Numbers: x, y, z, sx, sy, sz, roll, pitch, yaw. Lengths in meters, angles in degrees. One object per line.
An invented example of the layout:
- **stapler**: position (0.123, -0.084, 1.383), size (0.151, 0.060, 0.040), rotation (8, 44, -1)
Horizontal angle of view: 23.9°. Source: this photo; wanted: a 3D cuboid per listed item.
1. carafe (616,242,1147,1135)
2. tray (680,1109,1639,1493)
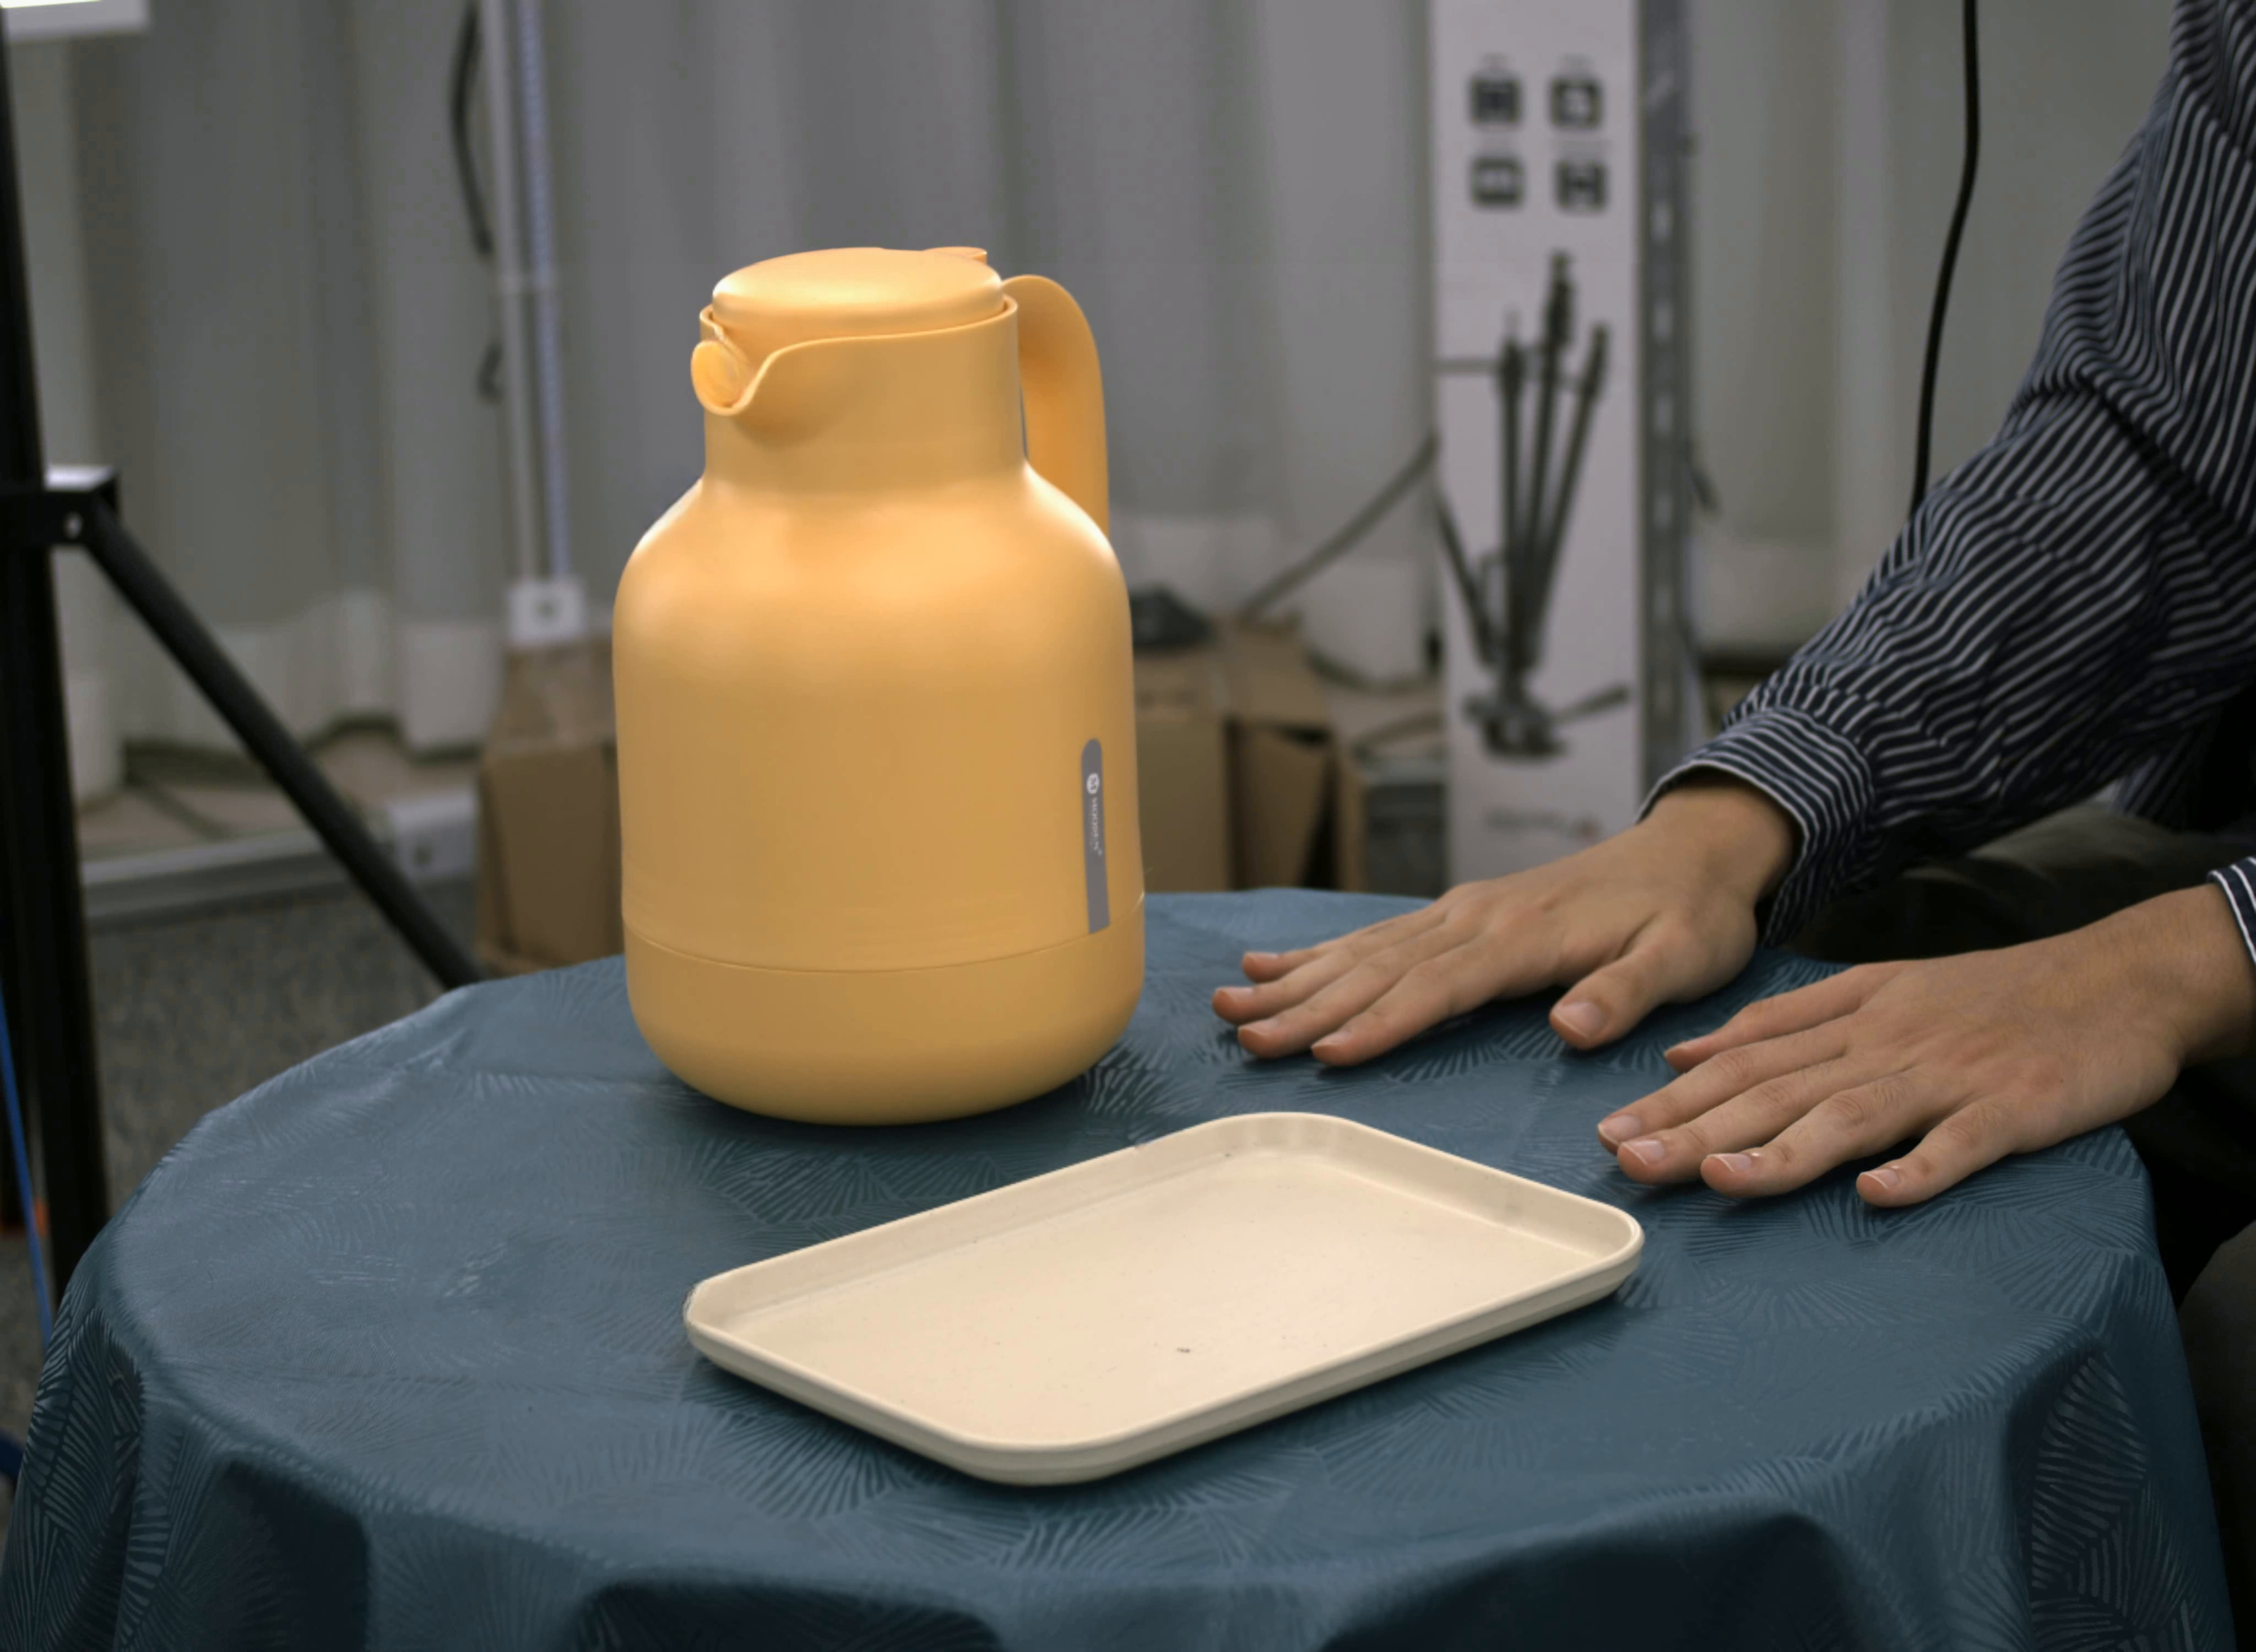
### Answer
- **carafe**: position (-0.066, -0.050, 1.652), size (0.166, 0.260, 0.199), rotation (9, 19, 28)
- **tray**: position (0.010, 0.129, 1.457), size (0.234, 0.017, 0.175), rotation (-14, 20, -37)
